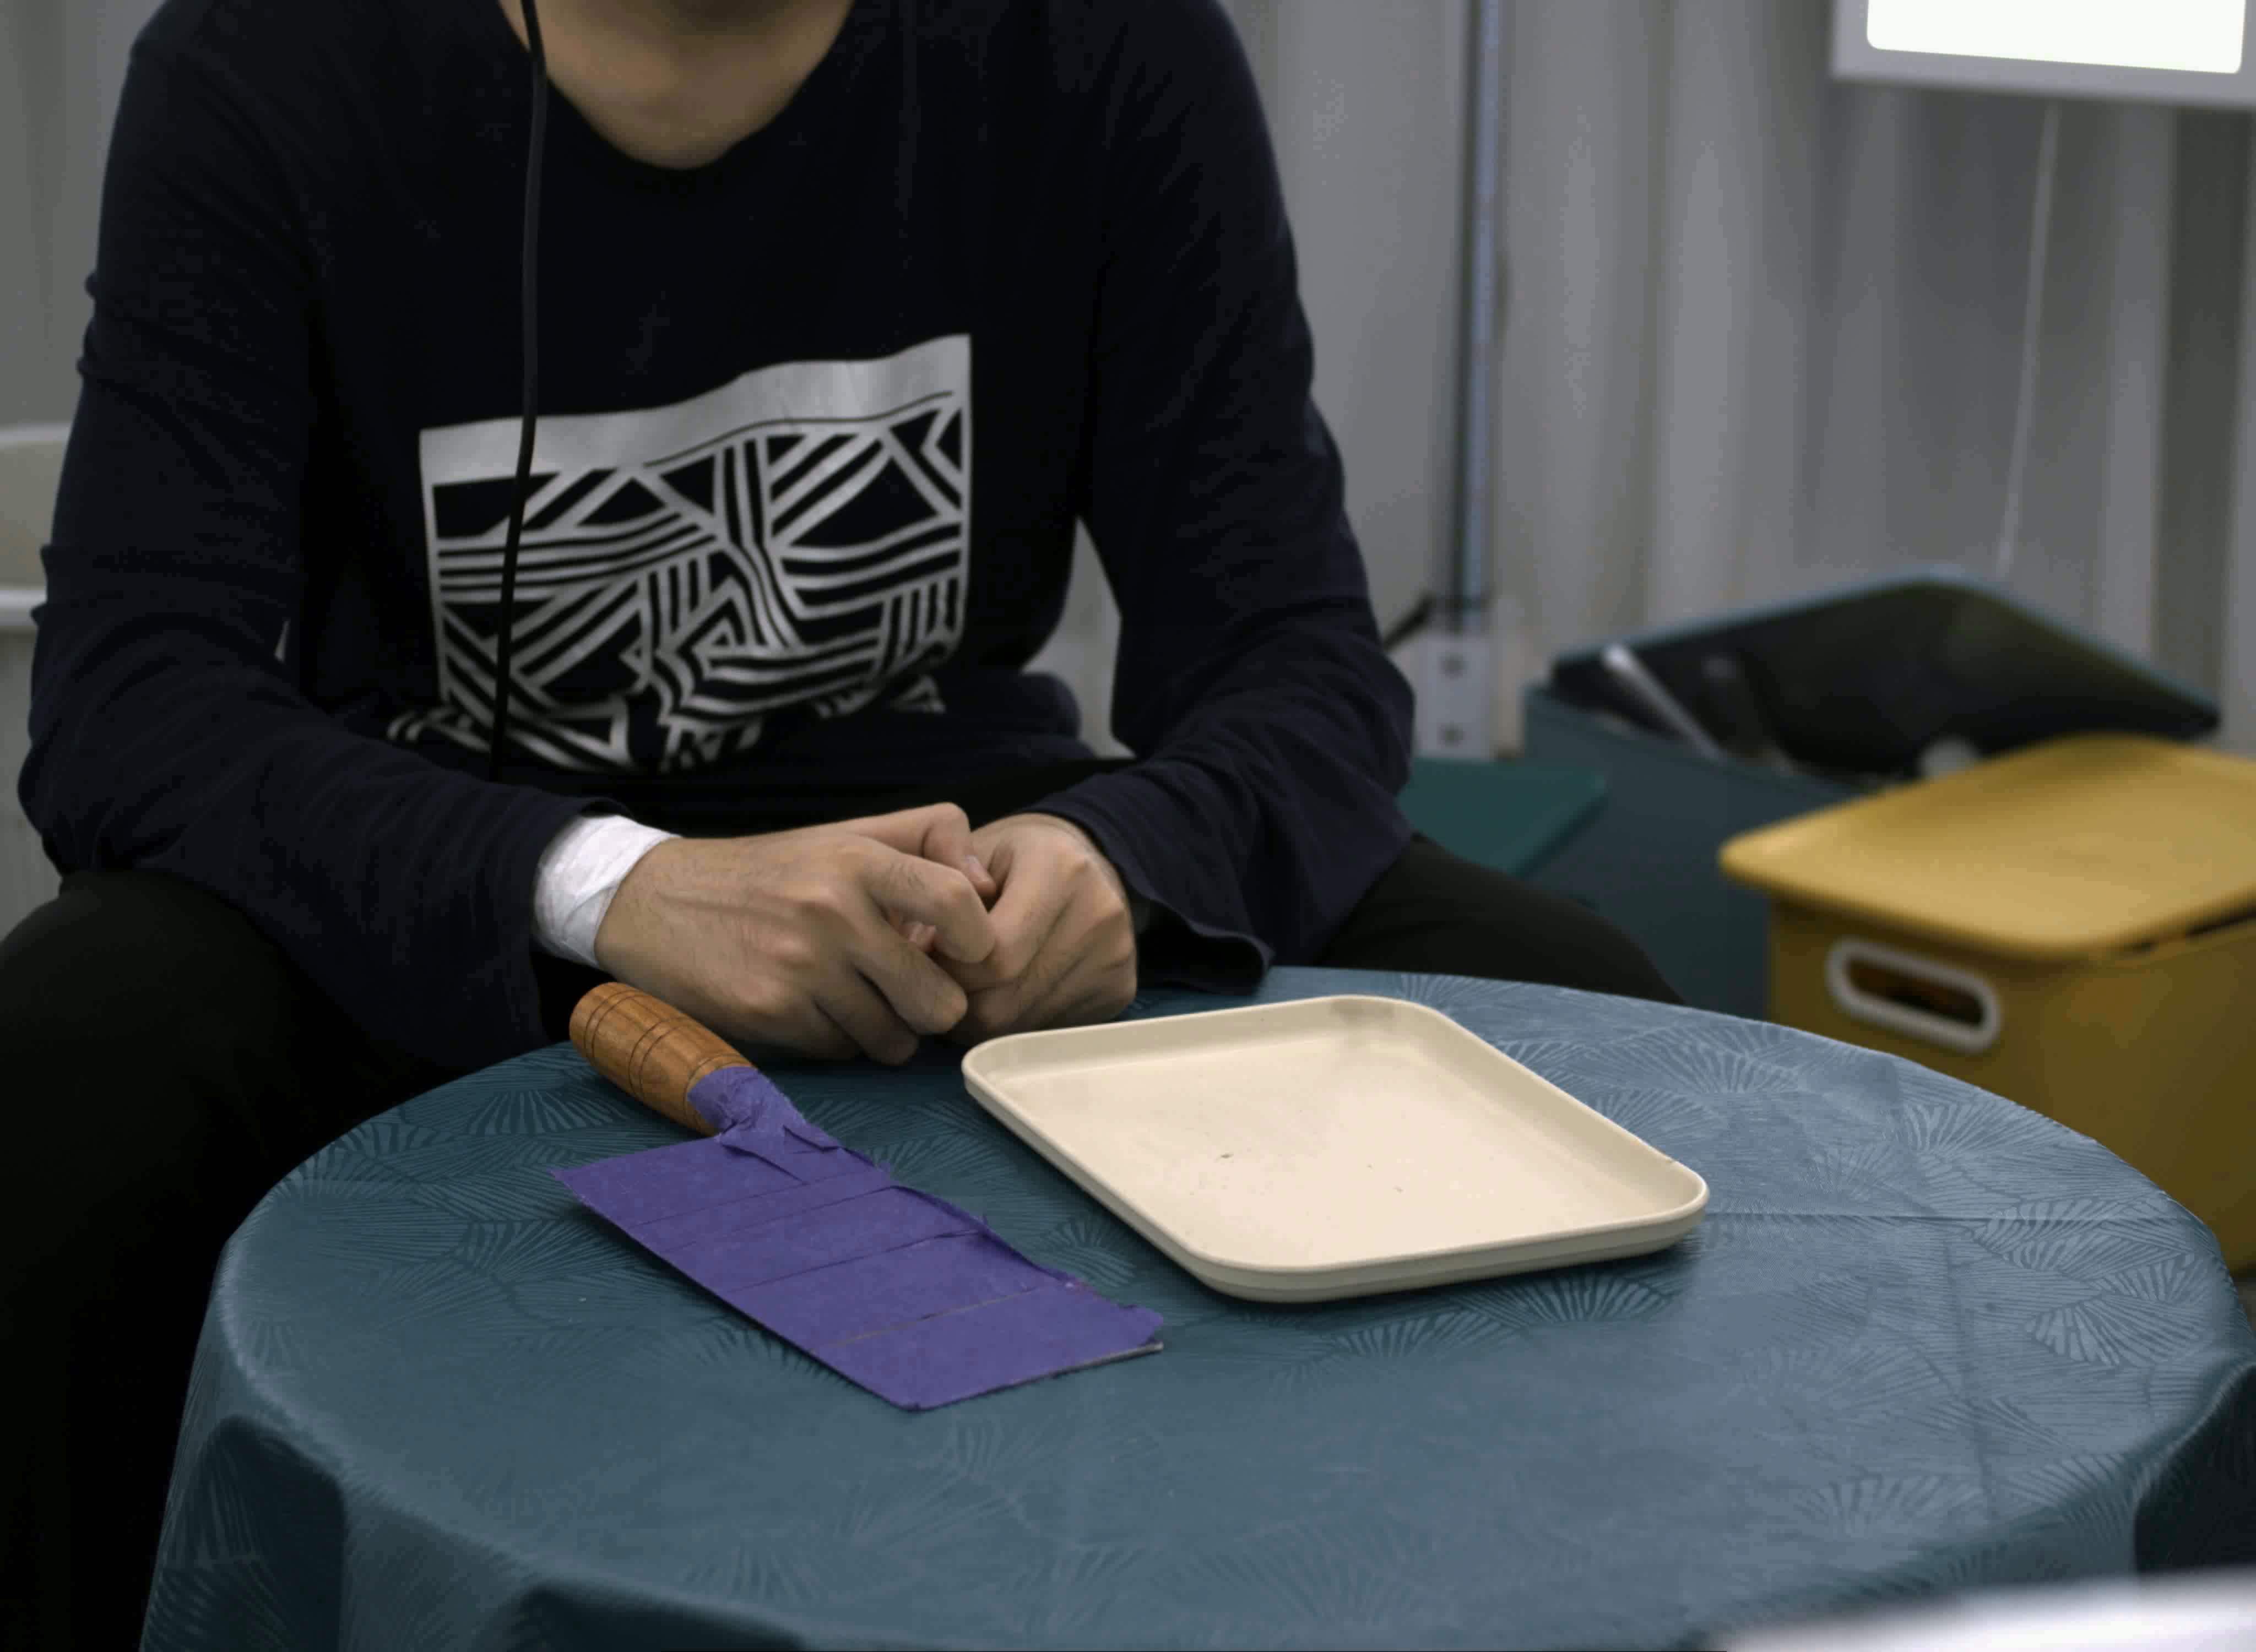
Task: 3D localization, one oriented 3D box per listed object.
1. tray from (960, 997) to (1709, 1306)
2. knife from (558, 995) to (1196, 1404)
[{"bbox_3d":[0.060,0.100,1.641,0.172,0.017,0.237,-6,17,-22],"label":"tray"},{"bbox_3d":[-0.109,0.109,1.585,0.104,0.032,0.311,-10,19,-34],"label":"knife"}]
